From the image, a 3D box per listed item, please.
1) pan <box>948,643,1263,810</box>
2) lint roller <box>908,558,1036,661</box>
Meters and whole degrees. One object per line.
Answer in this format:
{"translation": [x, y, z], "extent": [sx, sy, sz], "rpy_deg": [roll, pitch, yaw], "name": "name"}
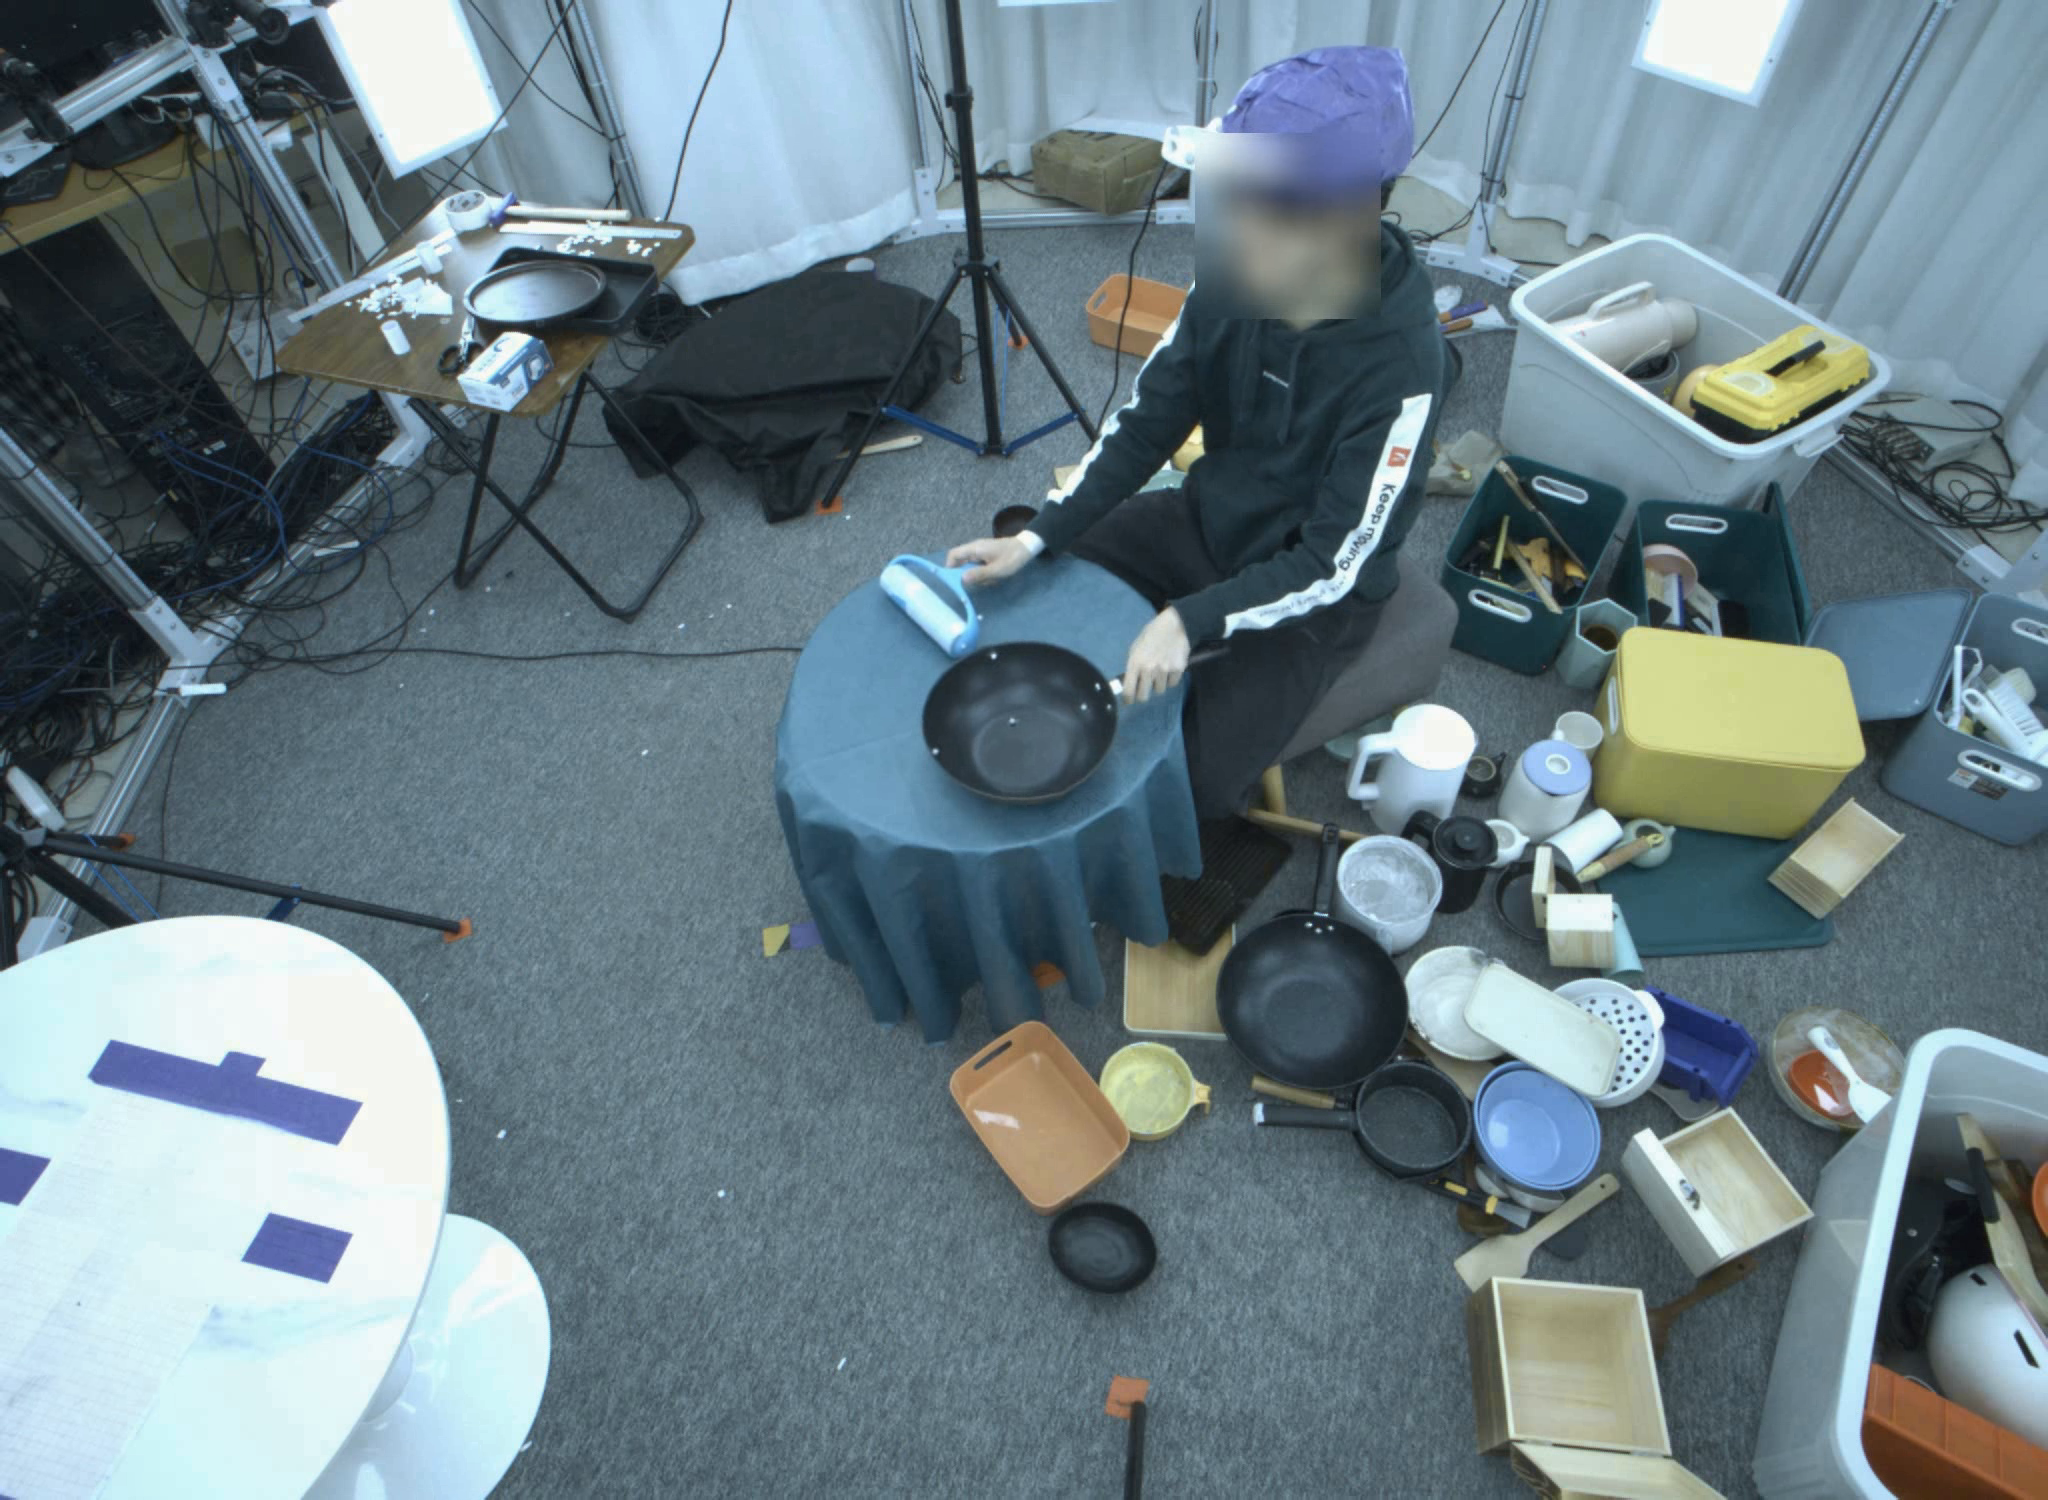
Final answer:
{"translation": [0.121, -0.047, 1.762], "extent": [0.466, 0.088, 0.283], "rpy_deg": [-17, 56, -11], "name": "pan"}
{"translation": [-0.061, -0.250, 1.918], "extent": [0.181, 0.069, 0.224], "rpy_deg": [-40, 59, -14], "name": "lint roller"}
